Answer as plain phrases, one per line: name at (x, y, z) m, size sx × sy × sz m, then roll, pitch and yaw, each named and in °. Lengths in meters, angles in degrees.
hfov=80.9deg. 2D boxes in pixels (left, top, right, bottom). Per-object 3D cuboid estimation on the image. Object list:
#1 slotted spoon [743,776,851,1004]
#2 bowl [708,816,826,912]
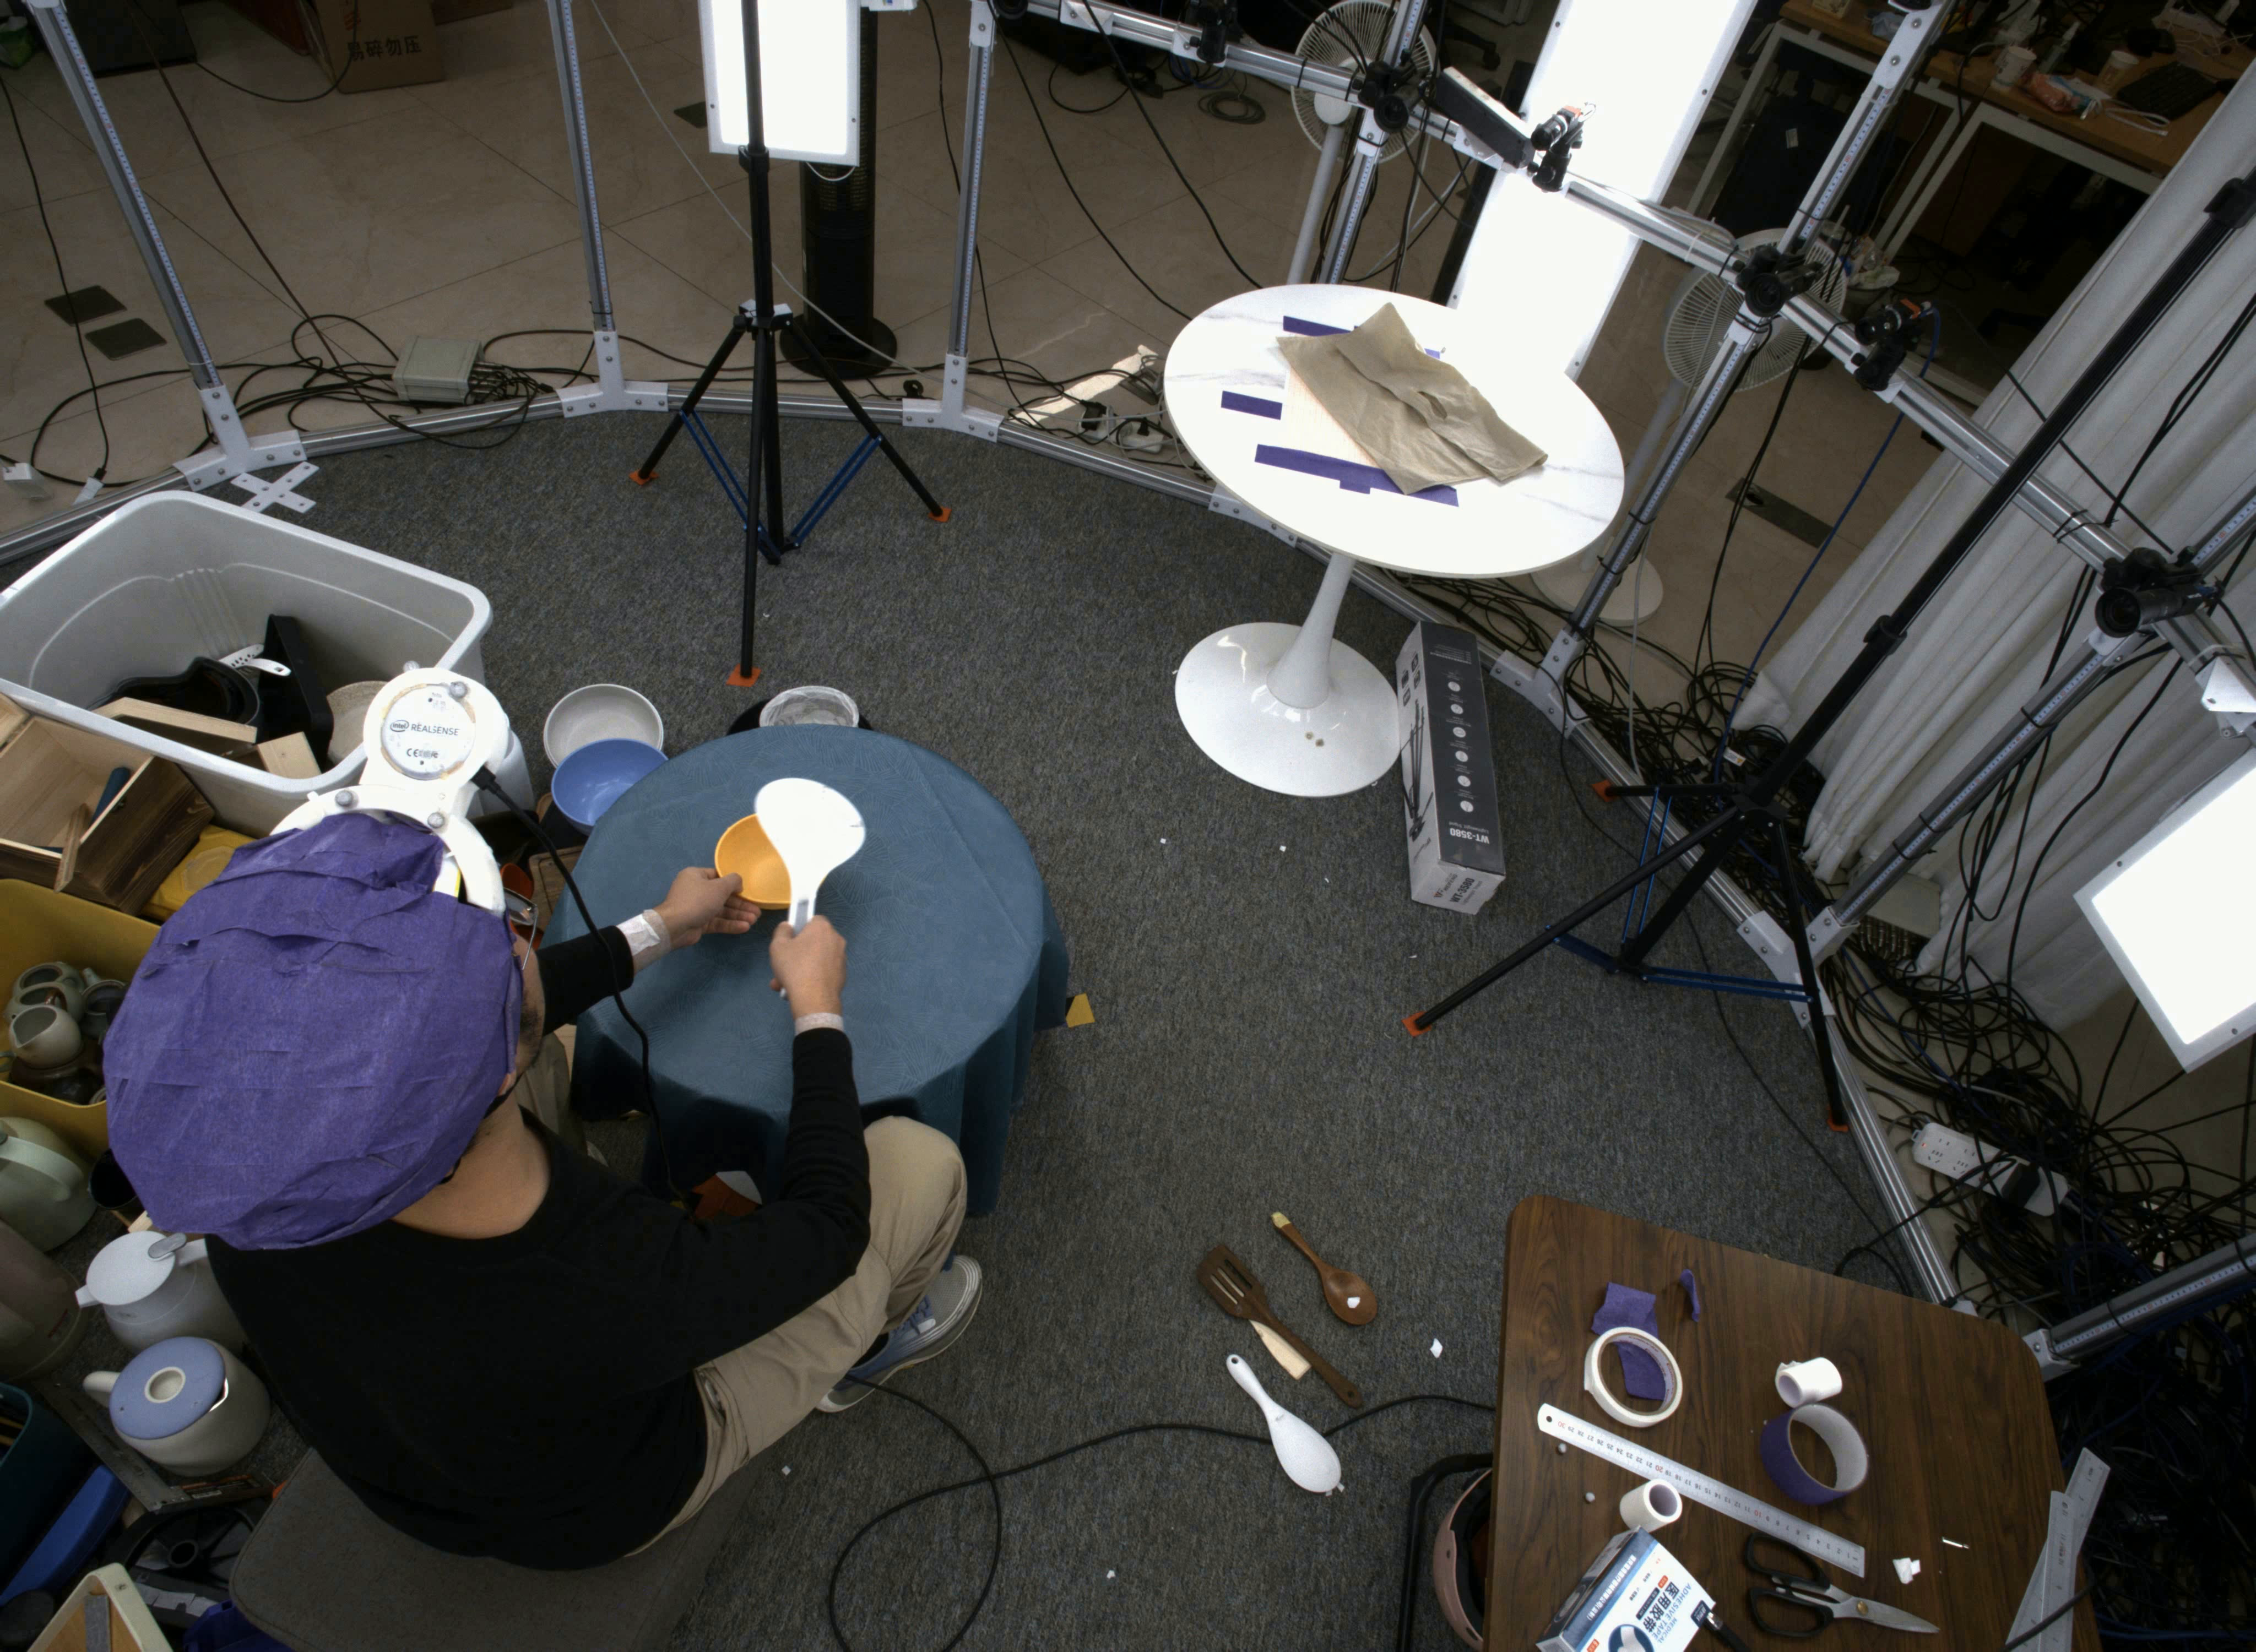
slotted spoon at (-0.388, 0.065, 1.499) m, size 0.139 × 0.046 × 0.340 m, roll 19°, pitch 33°, yaw -26°
bowl at (-0.453, 0.056, 1.633) m, size 0.145 × 0.061 × 0.142 m, roll 7°, pitch 51°, yaw -7°
